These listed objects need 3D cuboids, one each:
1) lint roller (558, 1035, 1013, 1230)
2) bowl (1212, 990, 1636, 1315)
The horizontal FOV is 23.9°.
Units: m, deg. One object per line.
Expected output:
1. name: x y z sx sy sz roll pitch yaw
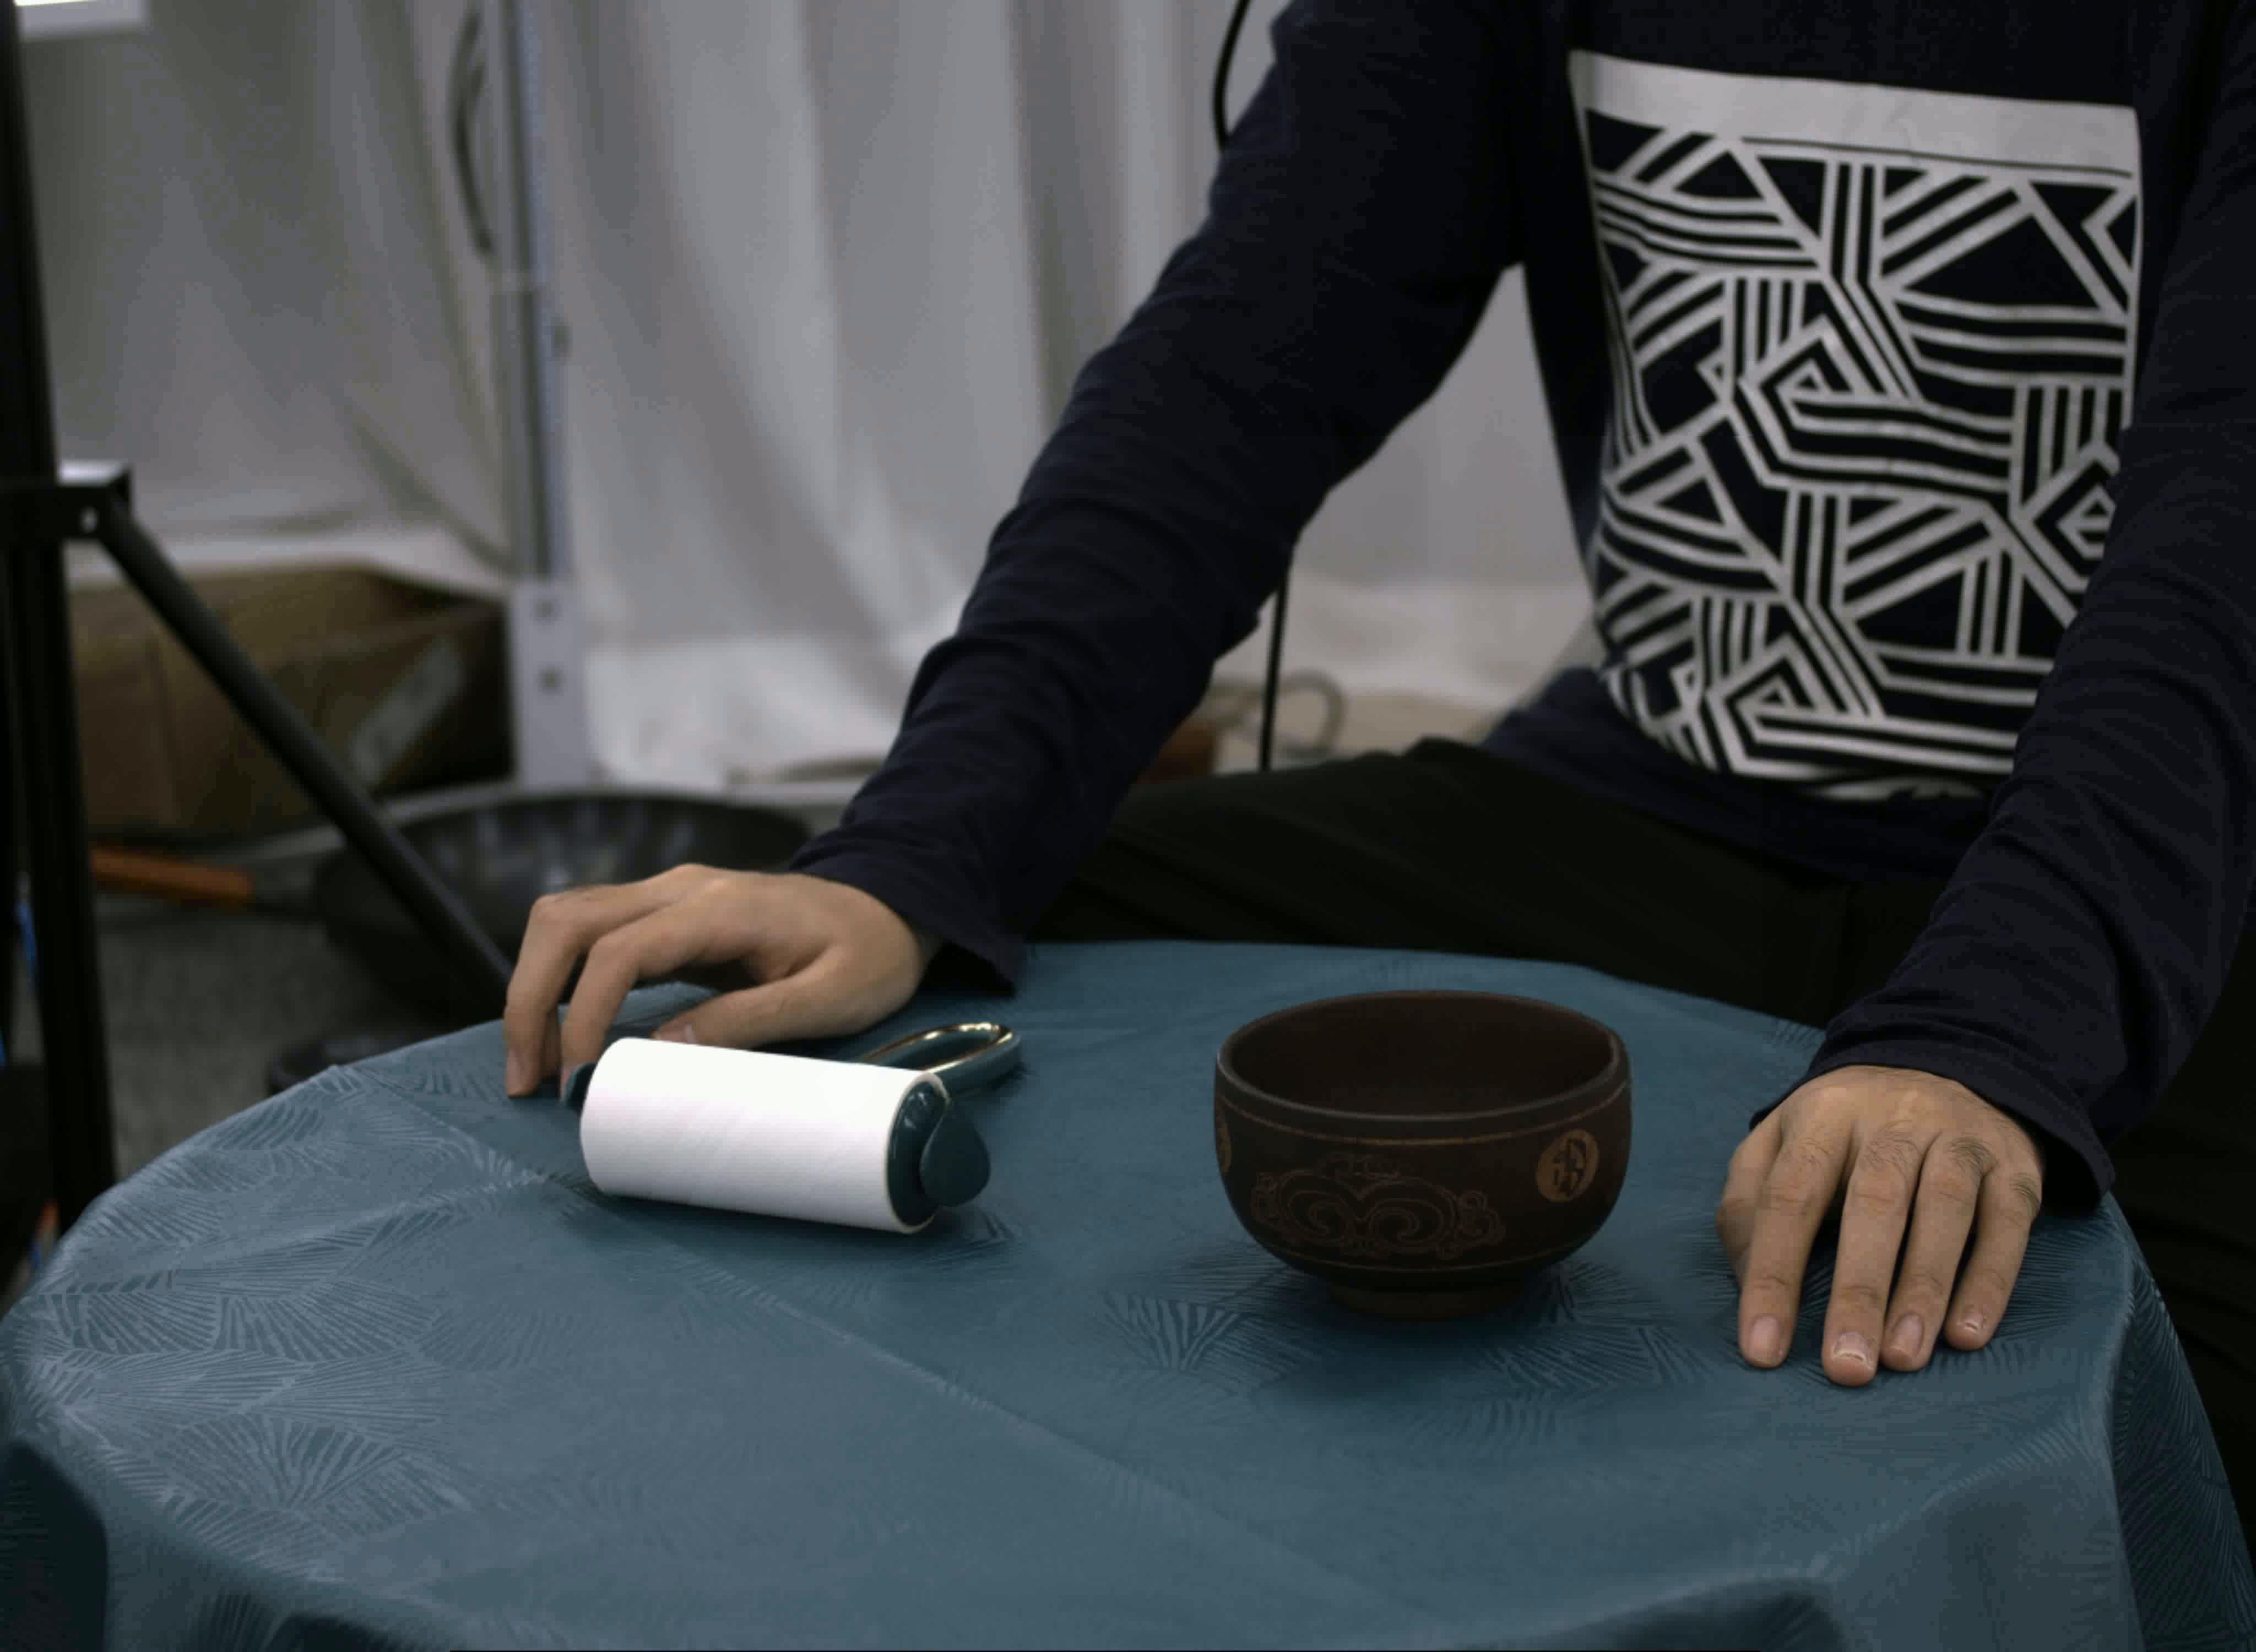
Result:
1. lint roller: -0.079 0.076 1.614 0.136 0.048 0.177 5 14 24
2. bowl: 0.082 0.094 1.466 0.117 0.070 0.118 -3 13 -1
